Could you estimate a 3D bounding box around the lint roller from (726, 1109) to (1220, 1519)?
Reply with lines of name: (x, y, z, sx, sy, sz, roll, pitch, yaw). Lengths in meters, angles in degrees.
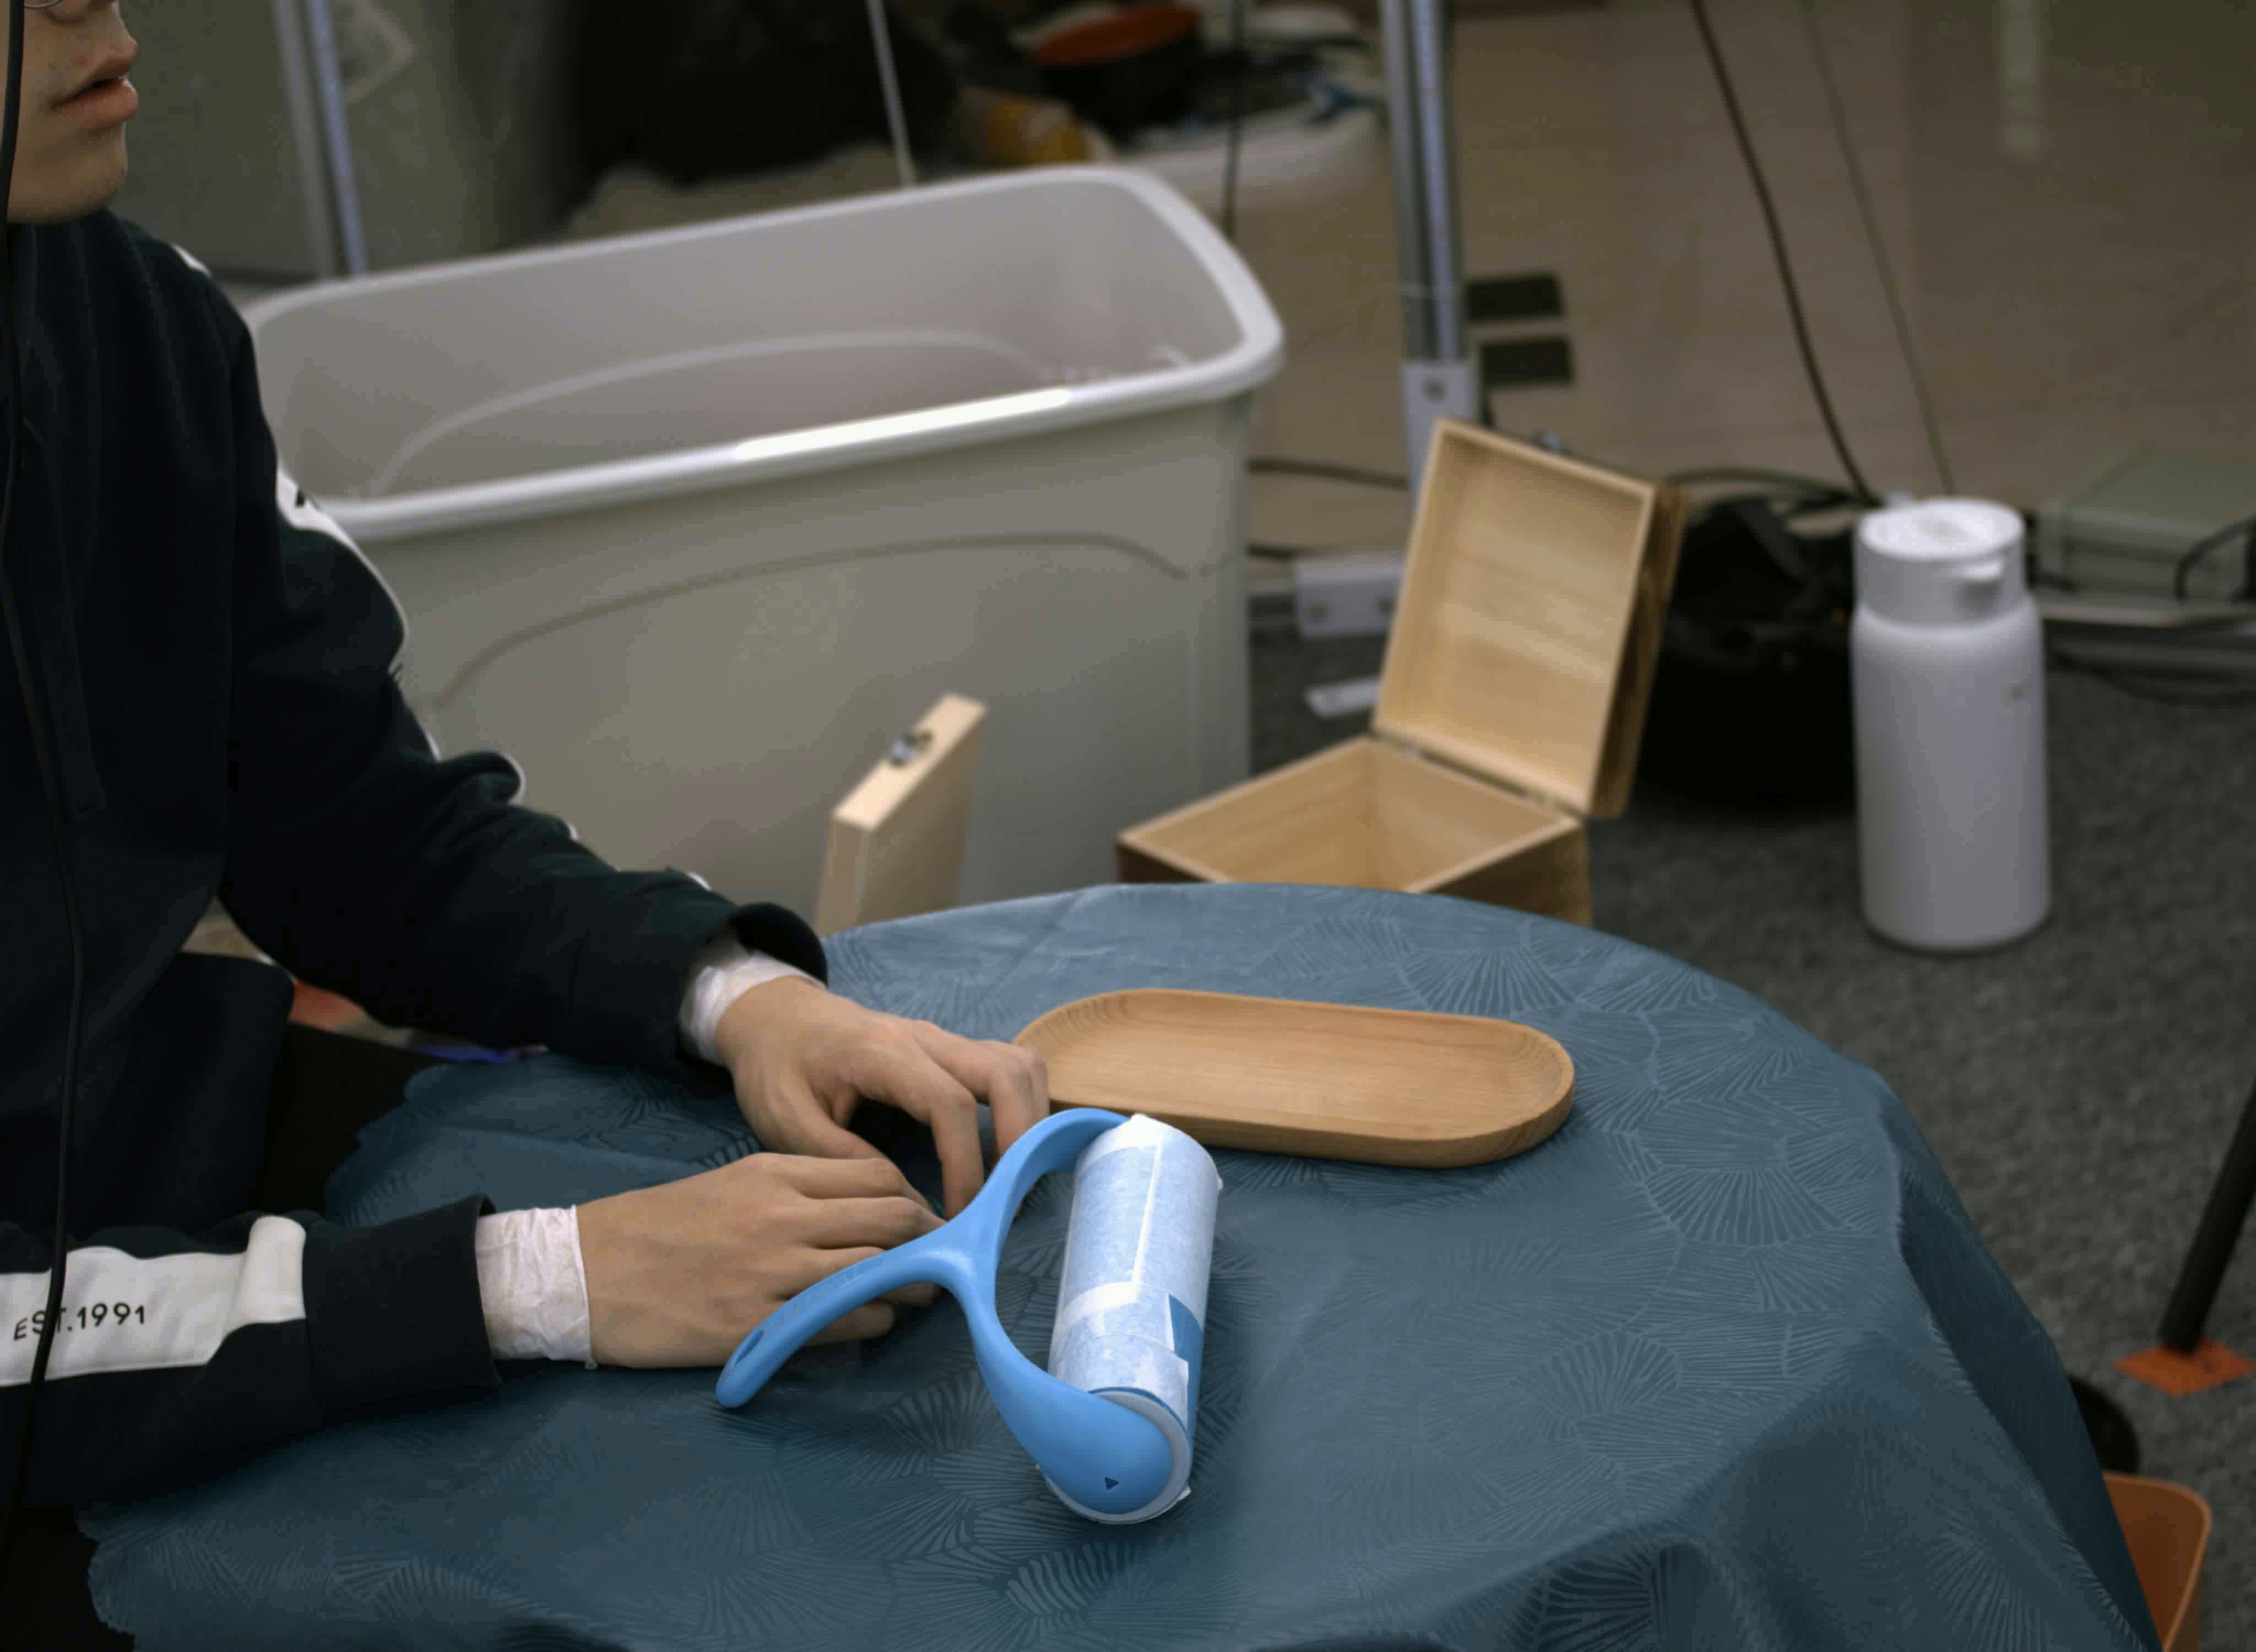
lint roller: (-0.057, 0.175, 2.011, 0.180, 0.069, 0.225, -4, 27, 3)

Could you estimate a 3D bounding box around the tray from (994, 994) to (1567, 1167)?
tray: (0.058, 0.099, 2.197, 0.230, 0.020, 0.100, 3, 25, 23)
